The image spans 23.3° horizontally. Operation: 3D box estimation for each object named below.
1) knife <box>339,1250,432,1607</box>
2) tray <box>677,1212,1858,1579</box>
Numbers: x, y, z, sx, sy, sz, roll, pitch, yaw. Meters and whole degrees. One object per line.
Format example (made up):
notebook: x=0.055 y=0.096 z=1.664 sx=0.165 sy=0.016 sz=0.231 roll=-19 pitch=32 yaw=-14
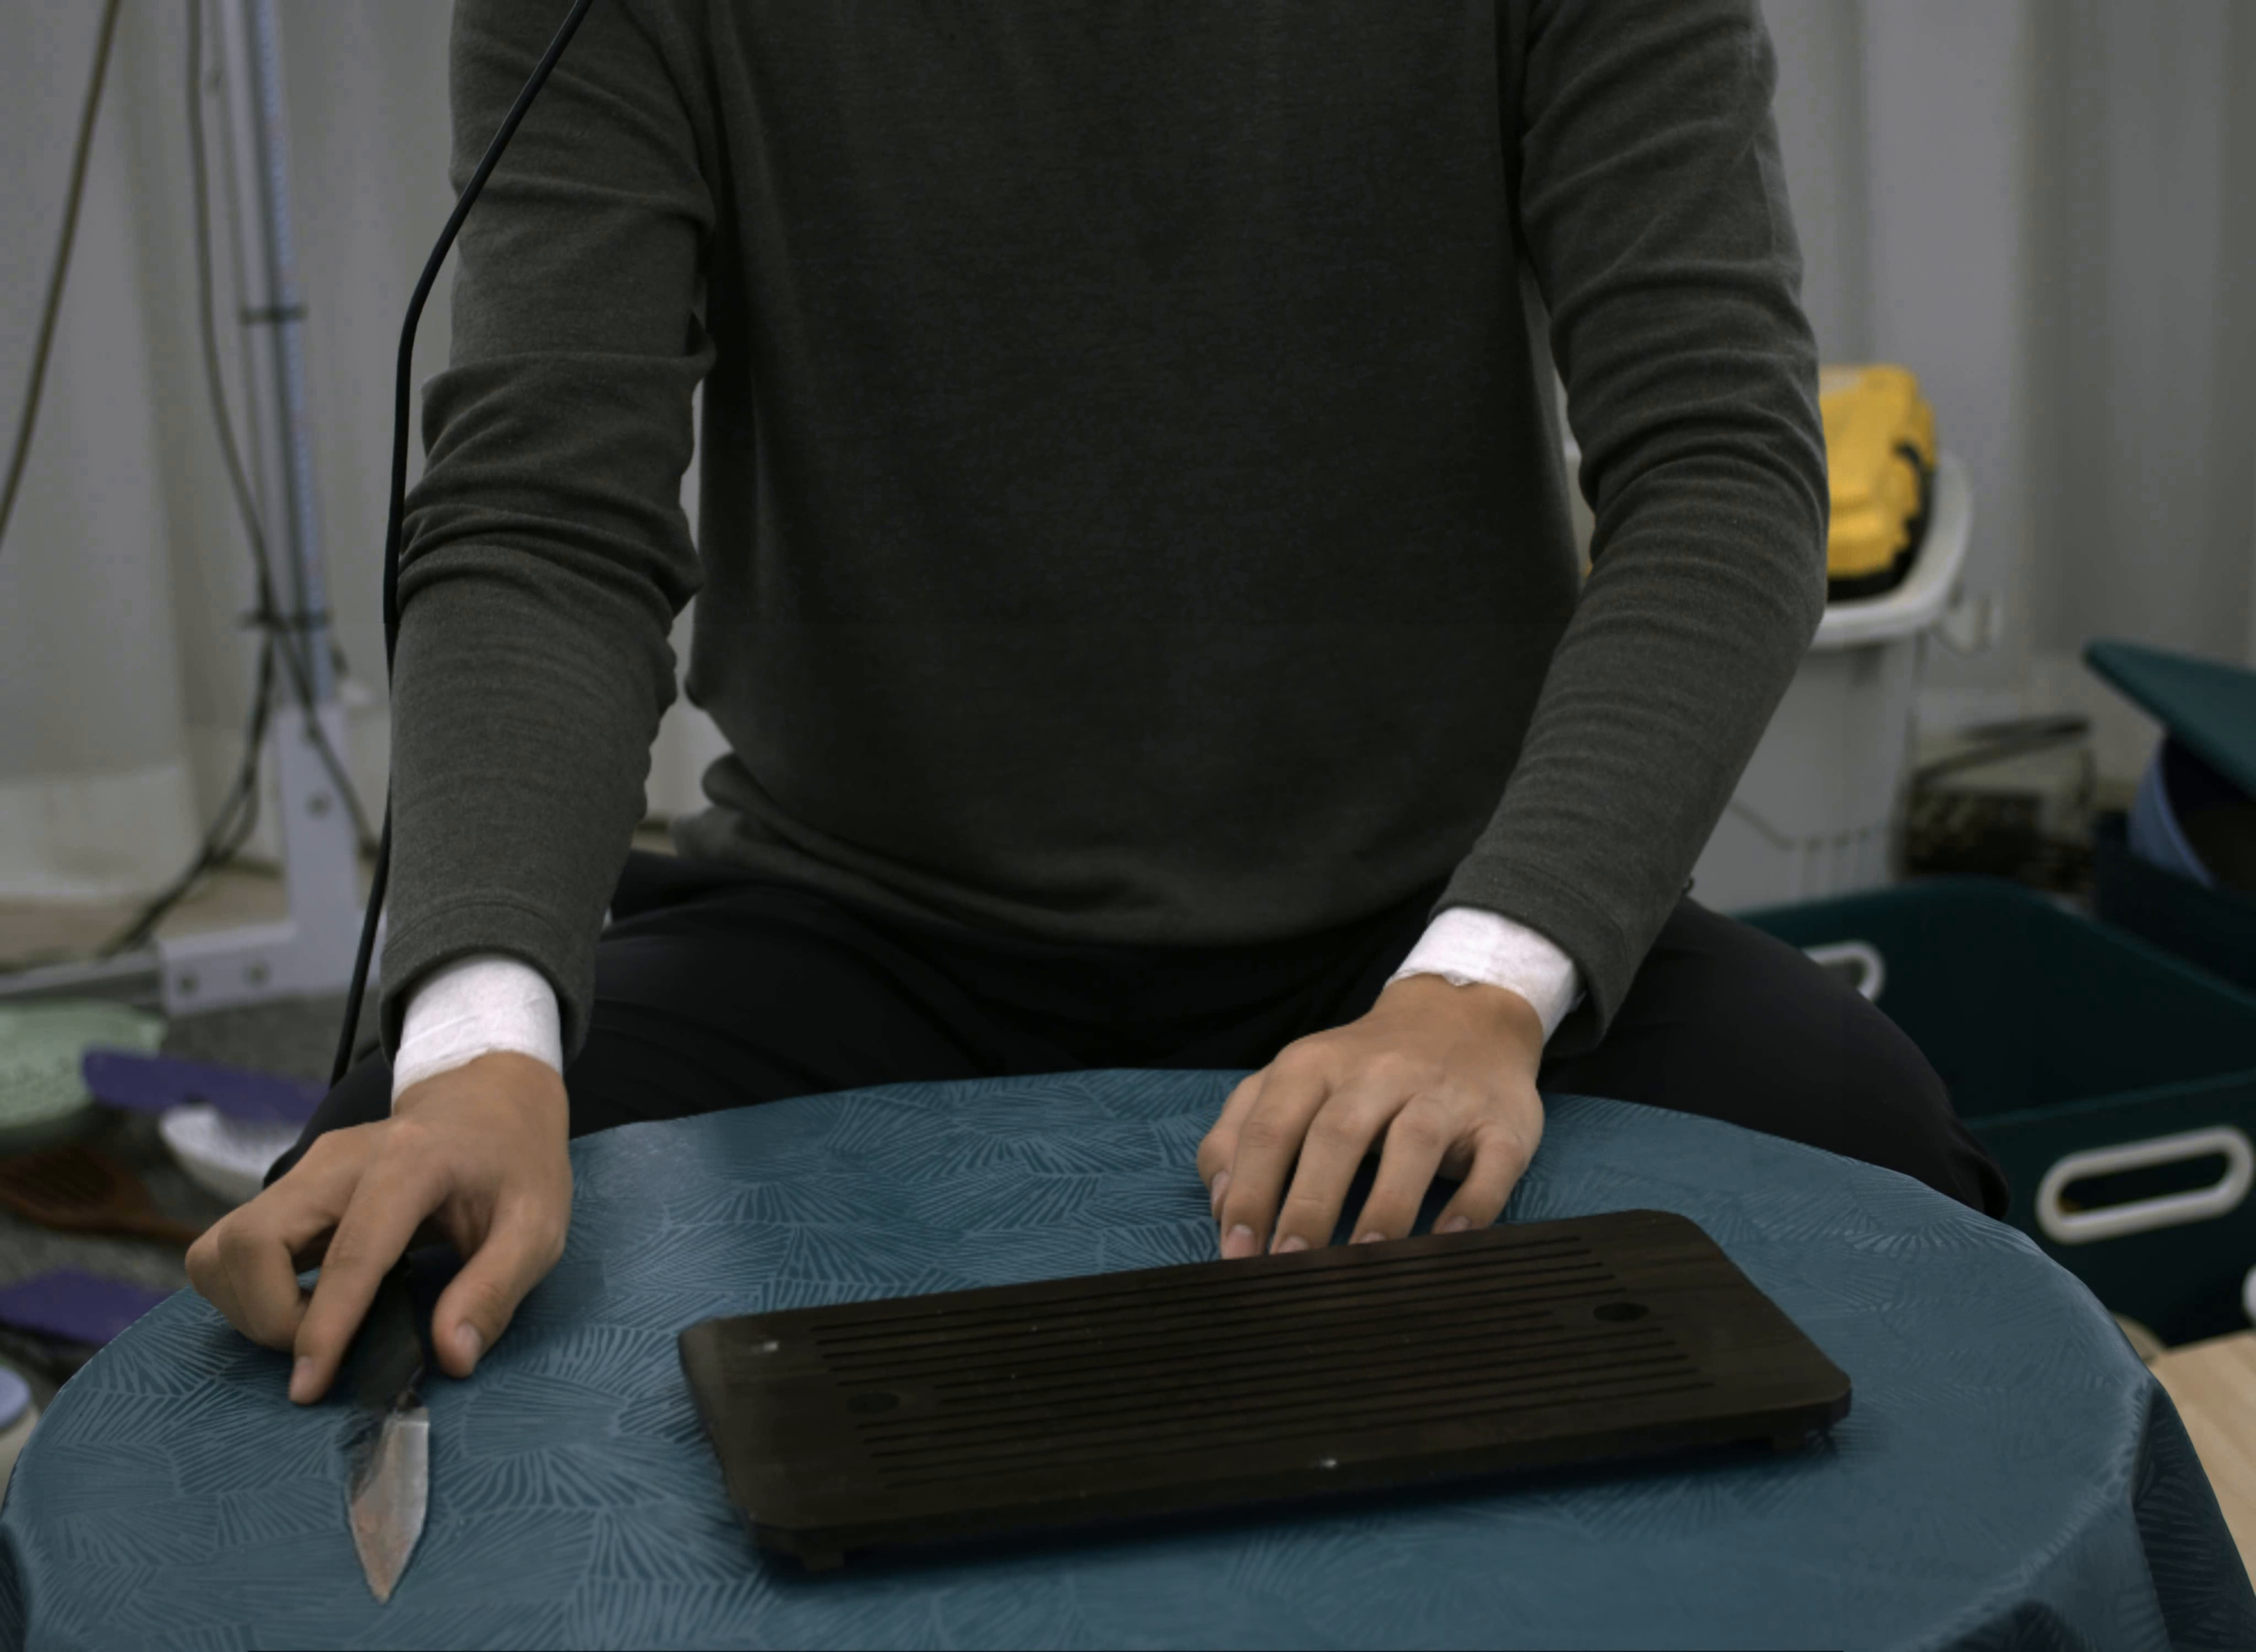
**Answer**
knife: x=-0.209 y=0.168 z=1.532 sx=0.024 sy=0.016 sz=0.240 roll=-5 pitch=18 yaw=-7
tray: x=0.035 y=0.157 z=1.519 sx=0.304 sy=0.018 sz=0.171 roll=-6 pitch=15 yaw=-11
